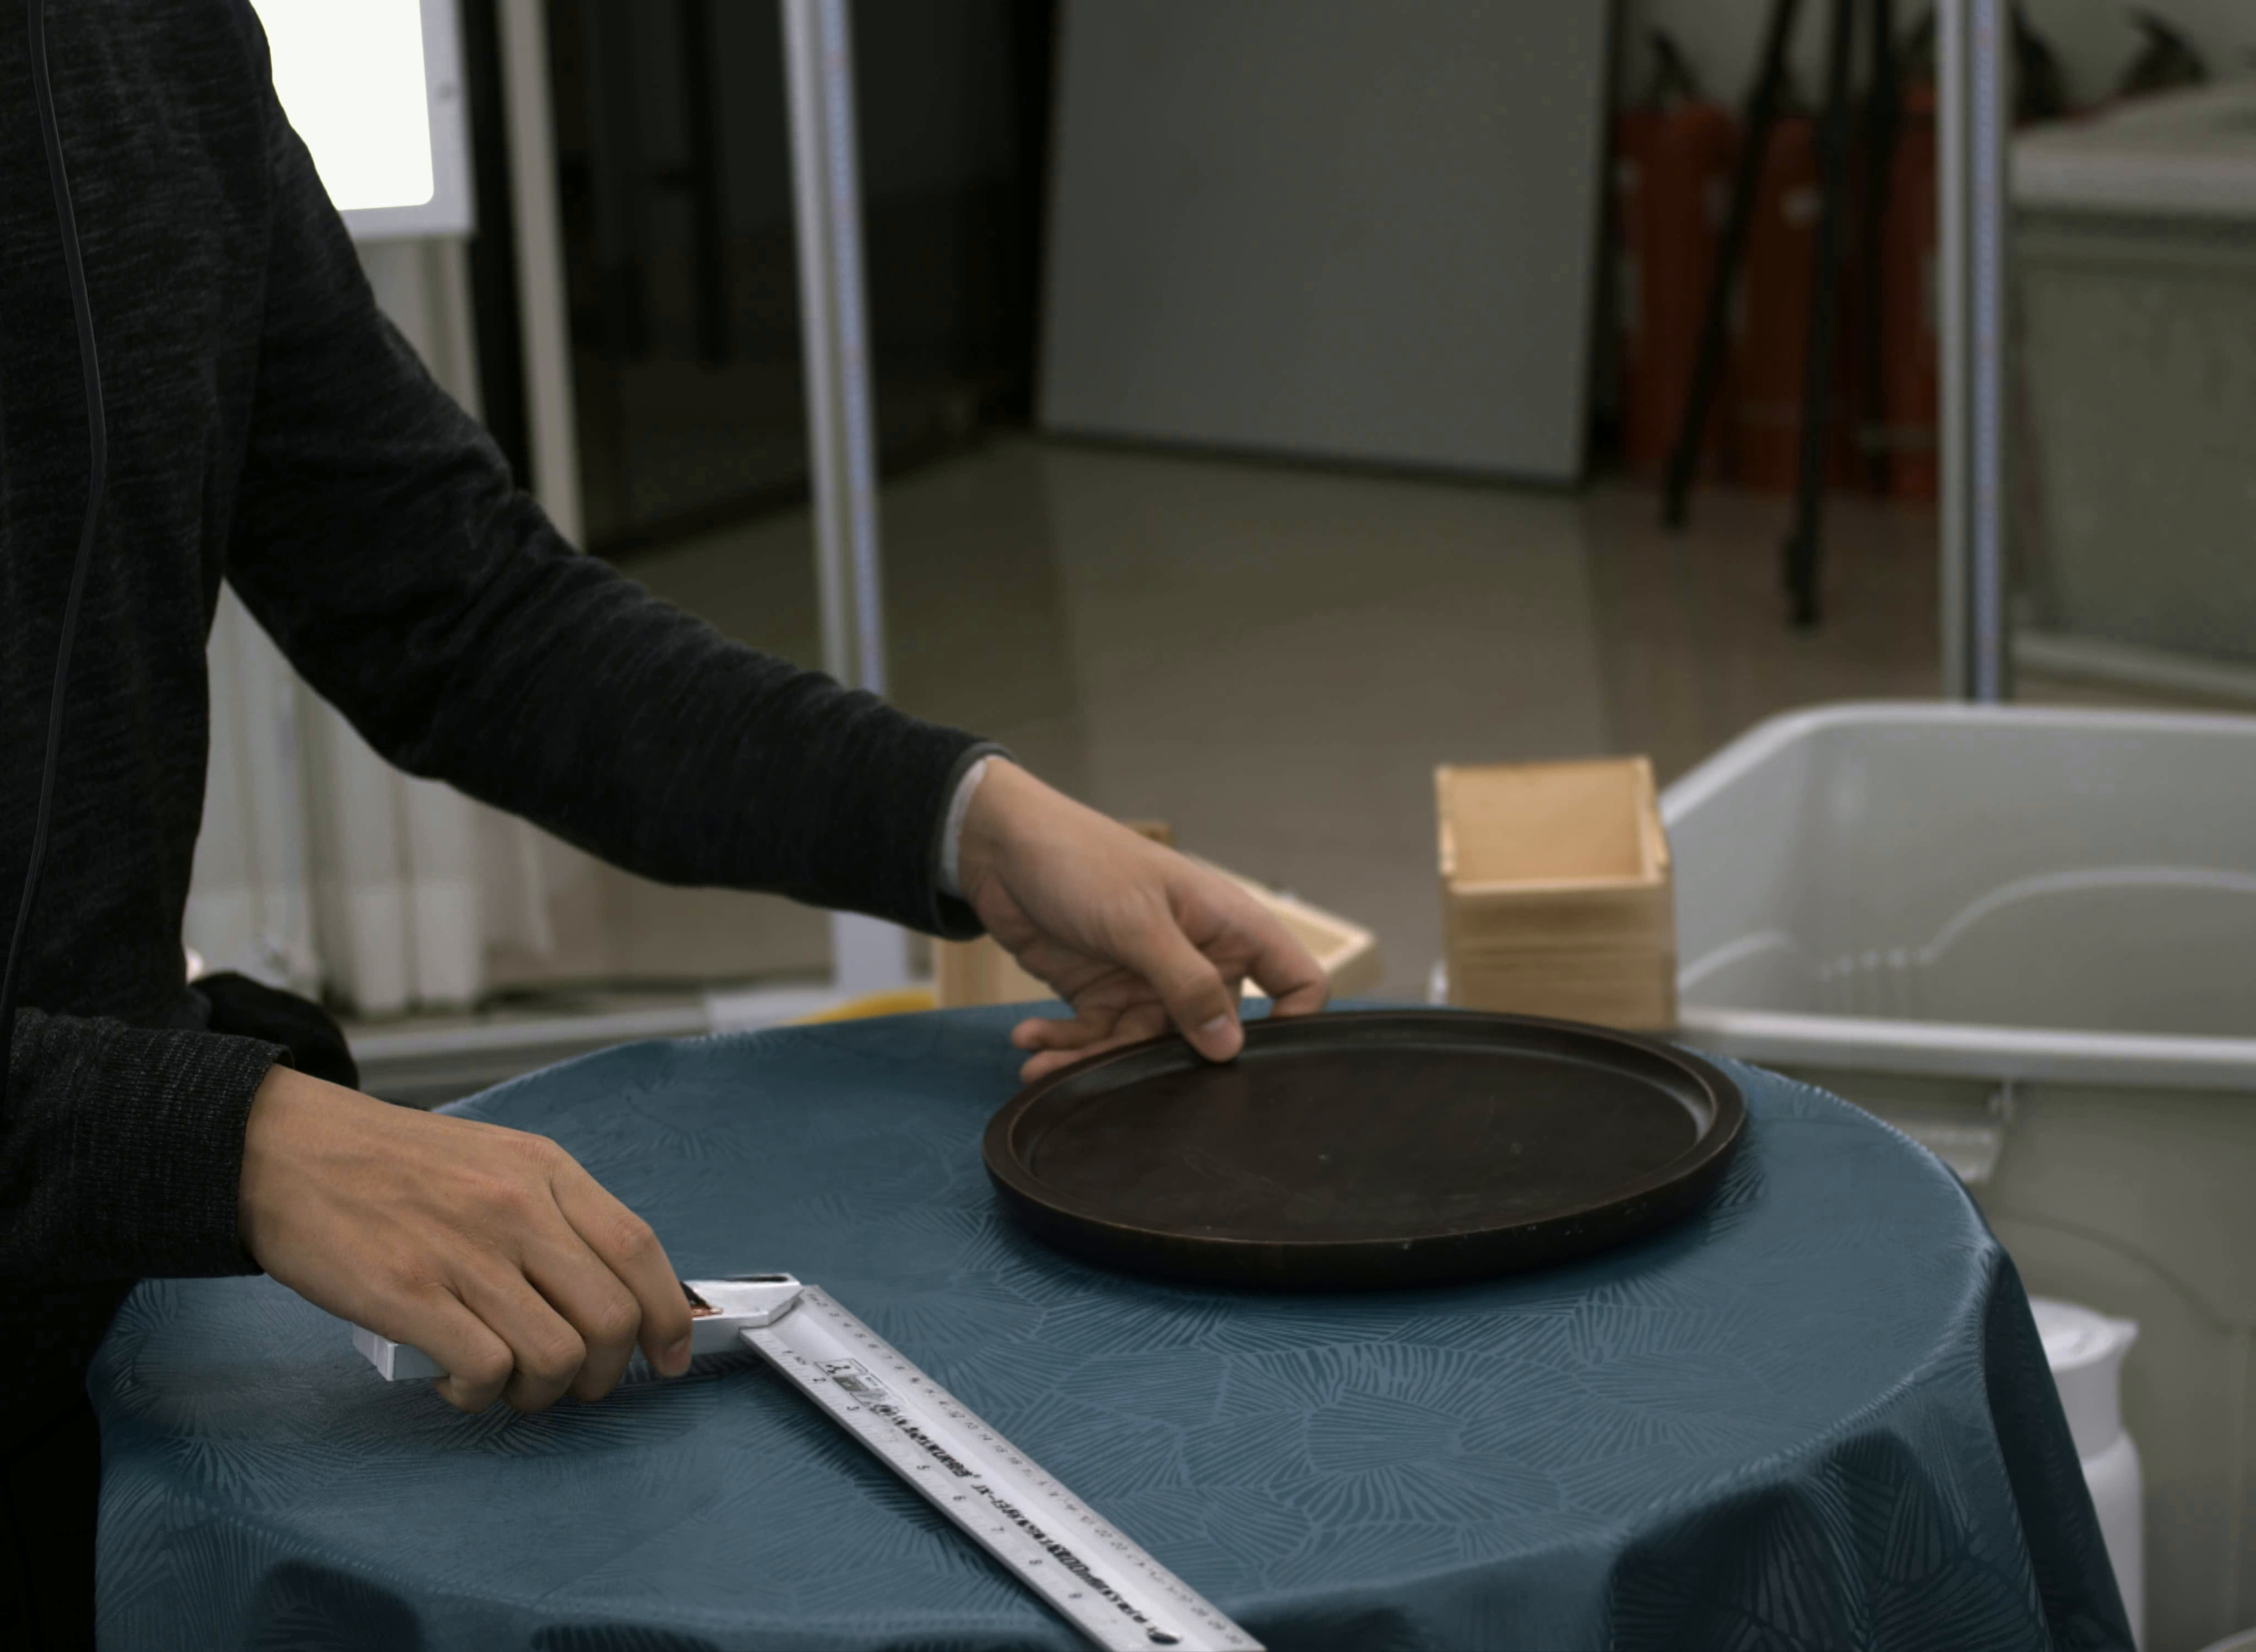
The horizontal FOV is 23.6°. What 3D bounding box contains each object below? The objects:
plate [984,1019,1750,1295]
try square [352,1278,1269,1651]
[{"bbox_3d":[0.078,0.105,1.762,0.251,0.029,0.255,-4,15,0],"label":"plate"},{"bbox_3d":[-0.096,0.181,1.498,0.149,0.016,0.316,-3,14,-25],"label":"try square"}]
